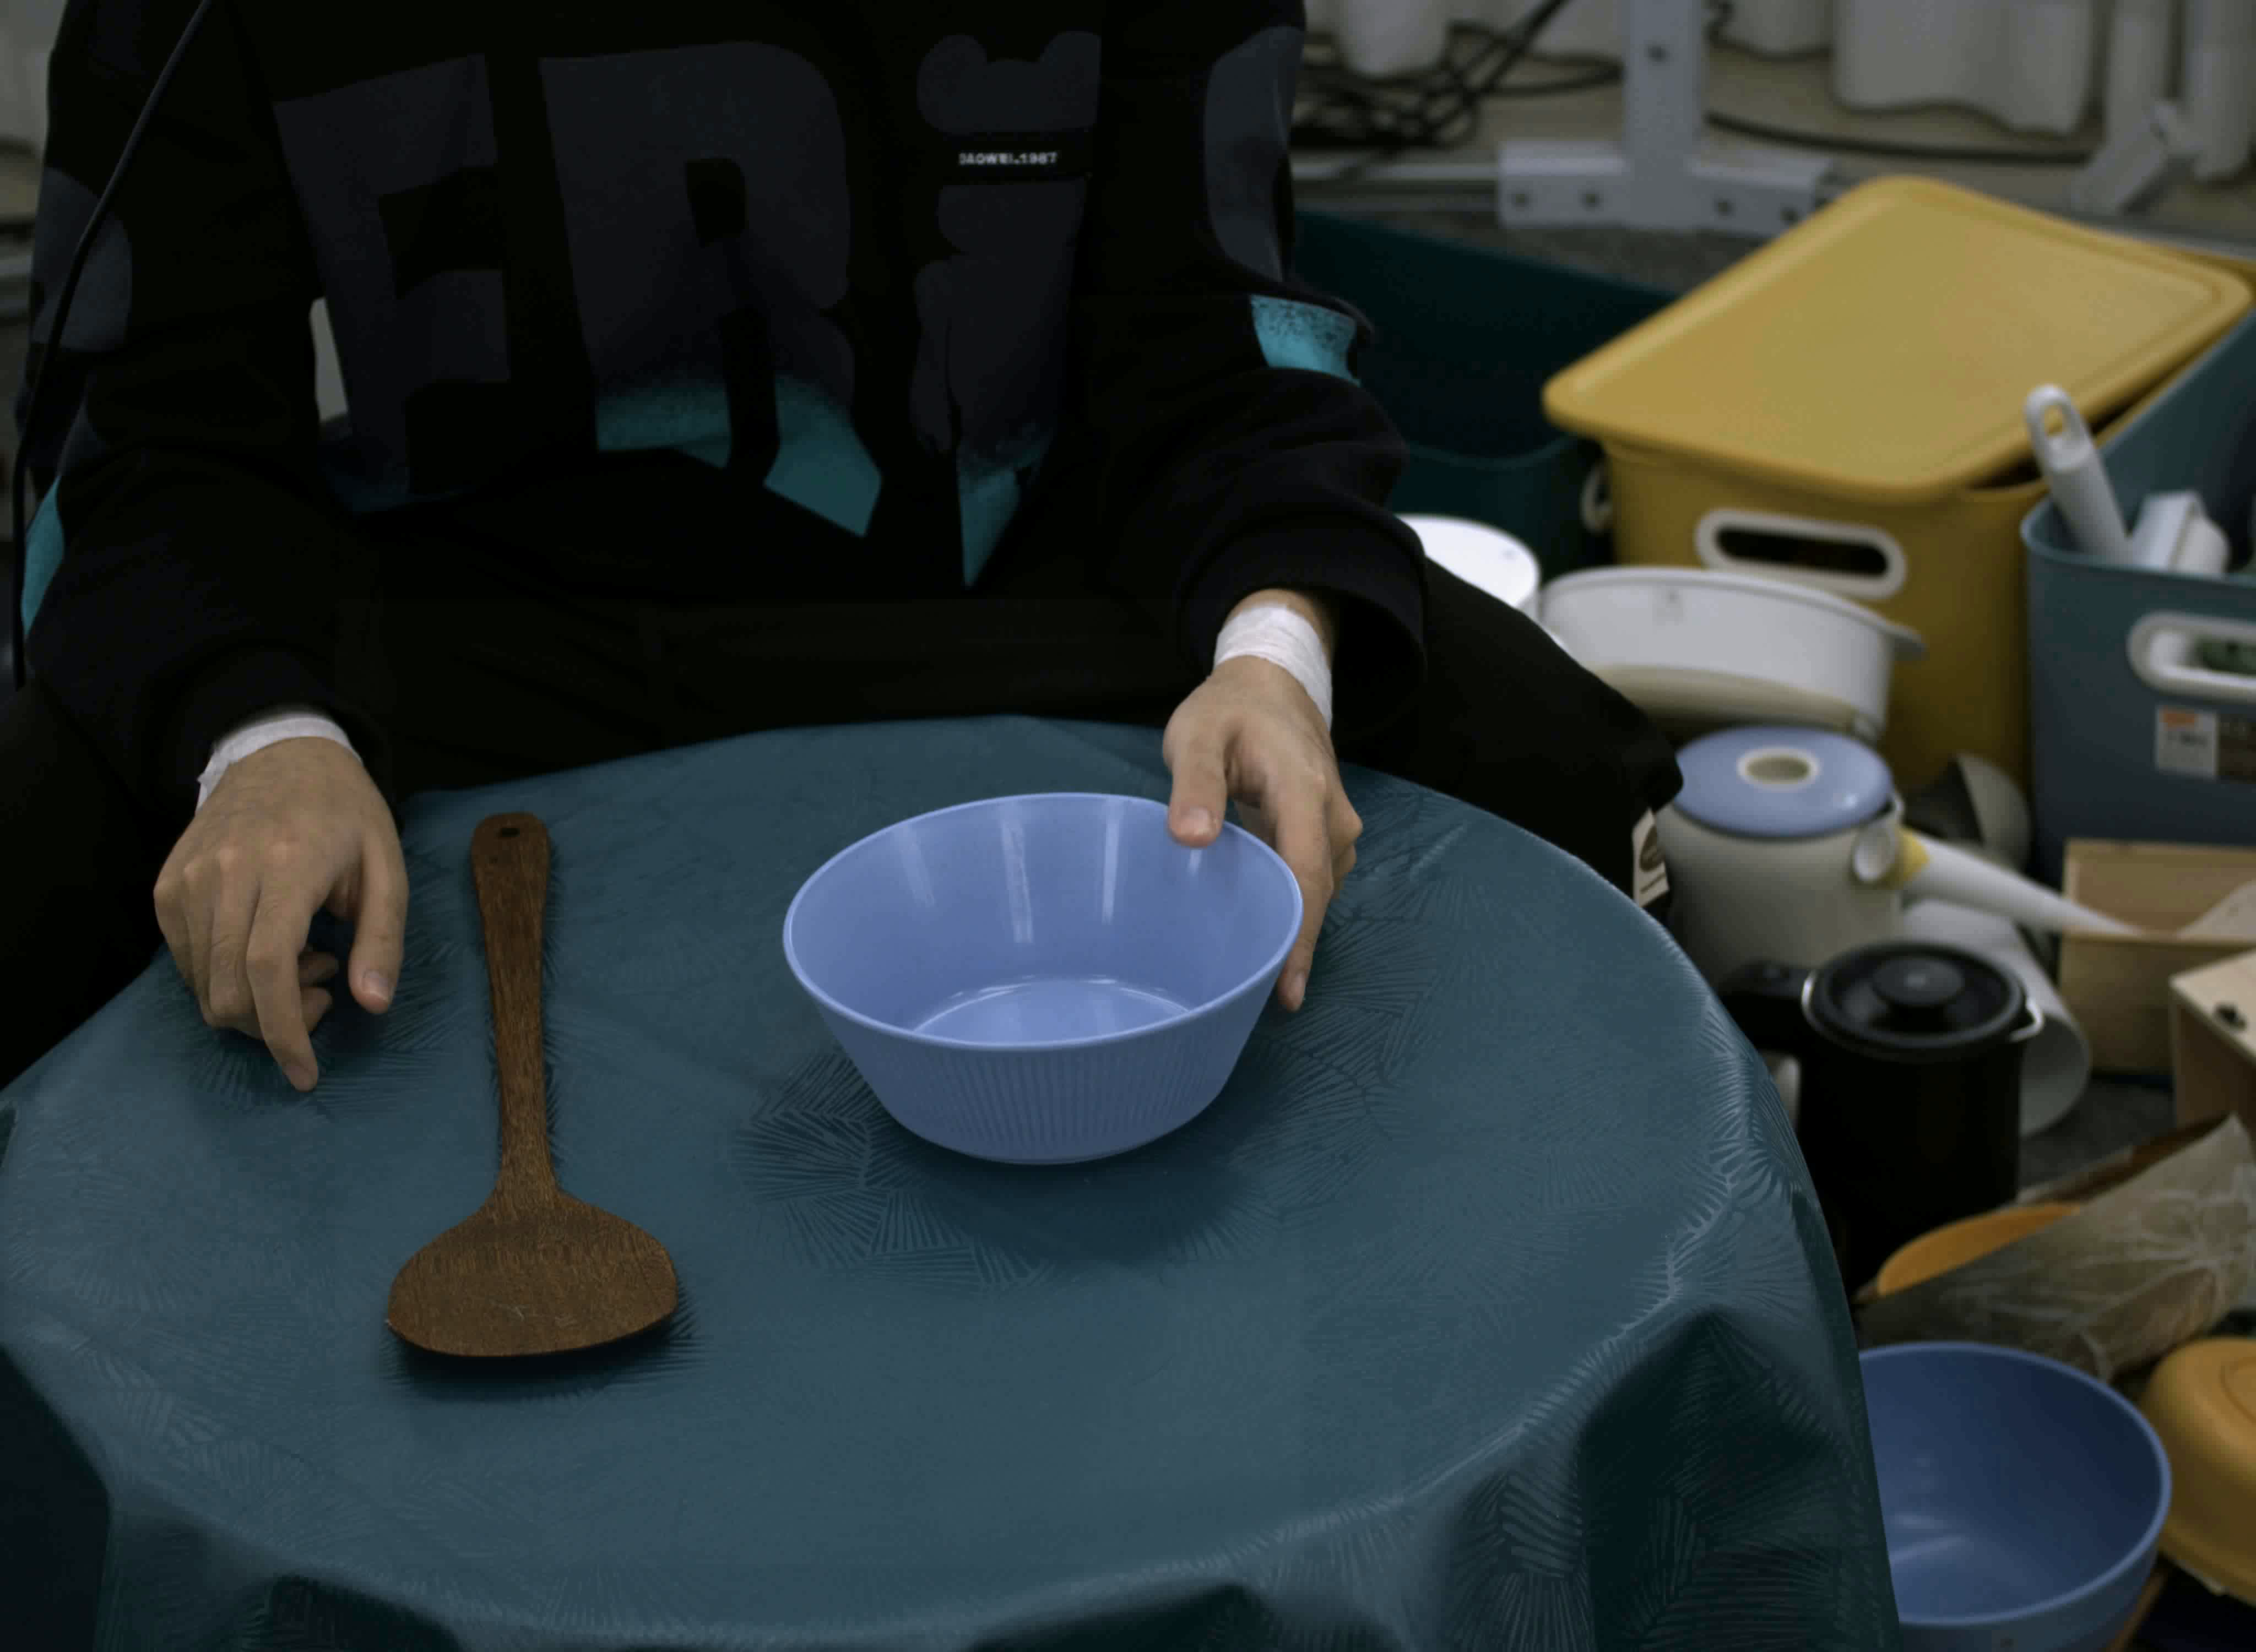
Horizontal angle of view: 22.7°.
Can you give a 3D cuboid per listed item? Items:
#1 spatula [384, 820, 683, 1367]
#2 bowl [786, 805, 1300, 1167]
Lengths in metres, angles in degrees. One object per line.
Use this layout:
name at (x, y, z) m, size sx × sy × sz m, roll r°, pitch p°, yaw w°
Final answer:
spatula at (-0.210, 0.084, 1.941) m, size 0.096 × 0.015 × 0.391 m, roll -5°, pitch 27°, yaw -5°
bowl at (-0.027, 0.060, 1.909) m, size 0.175 × 0.069 × 0.178 m, roll -2°, pitch 26°, yaw 2°
